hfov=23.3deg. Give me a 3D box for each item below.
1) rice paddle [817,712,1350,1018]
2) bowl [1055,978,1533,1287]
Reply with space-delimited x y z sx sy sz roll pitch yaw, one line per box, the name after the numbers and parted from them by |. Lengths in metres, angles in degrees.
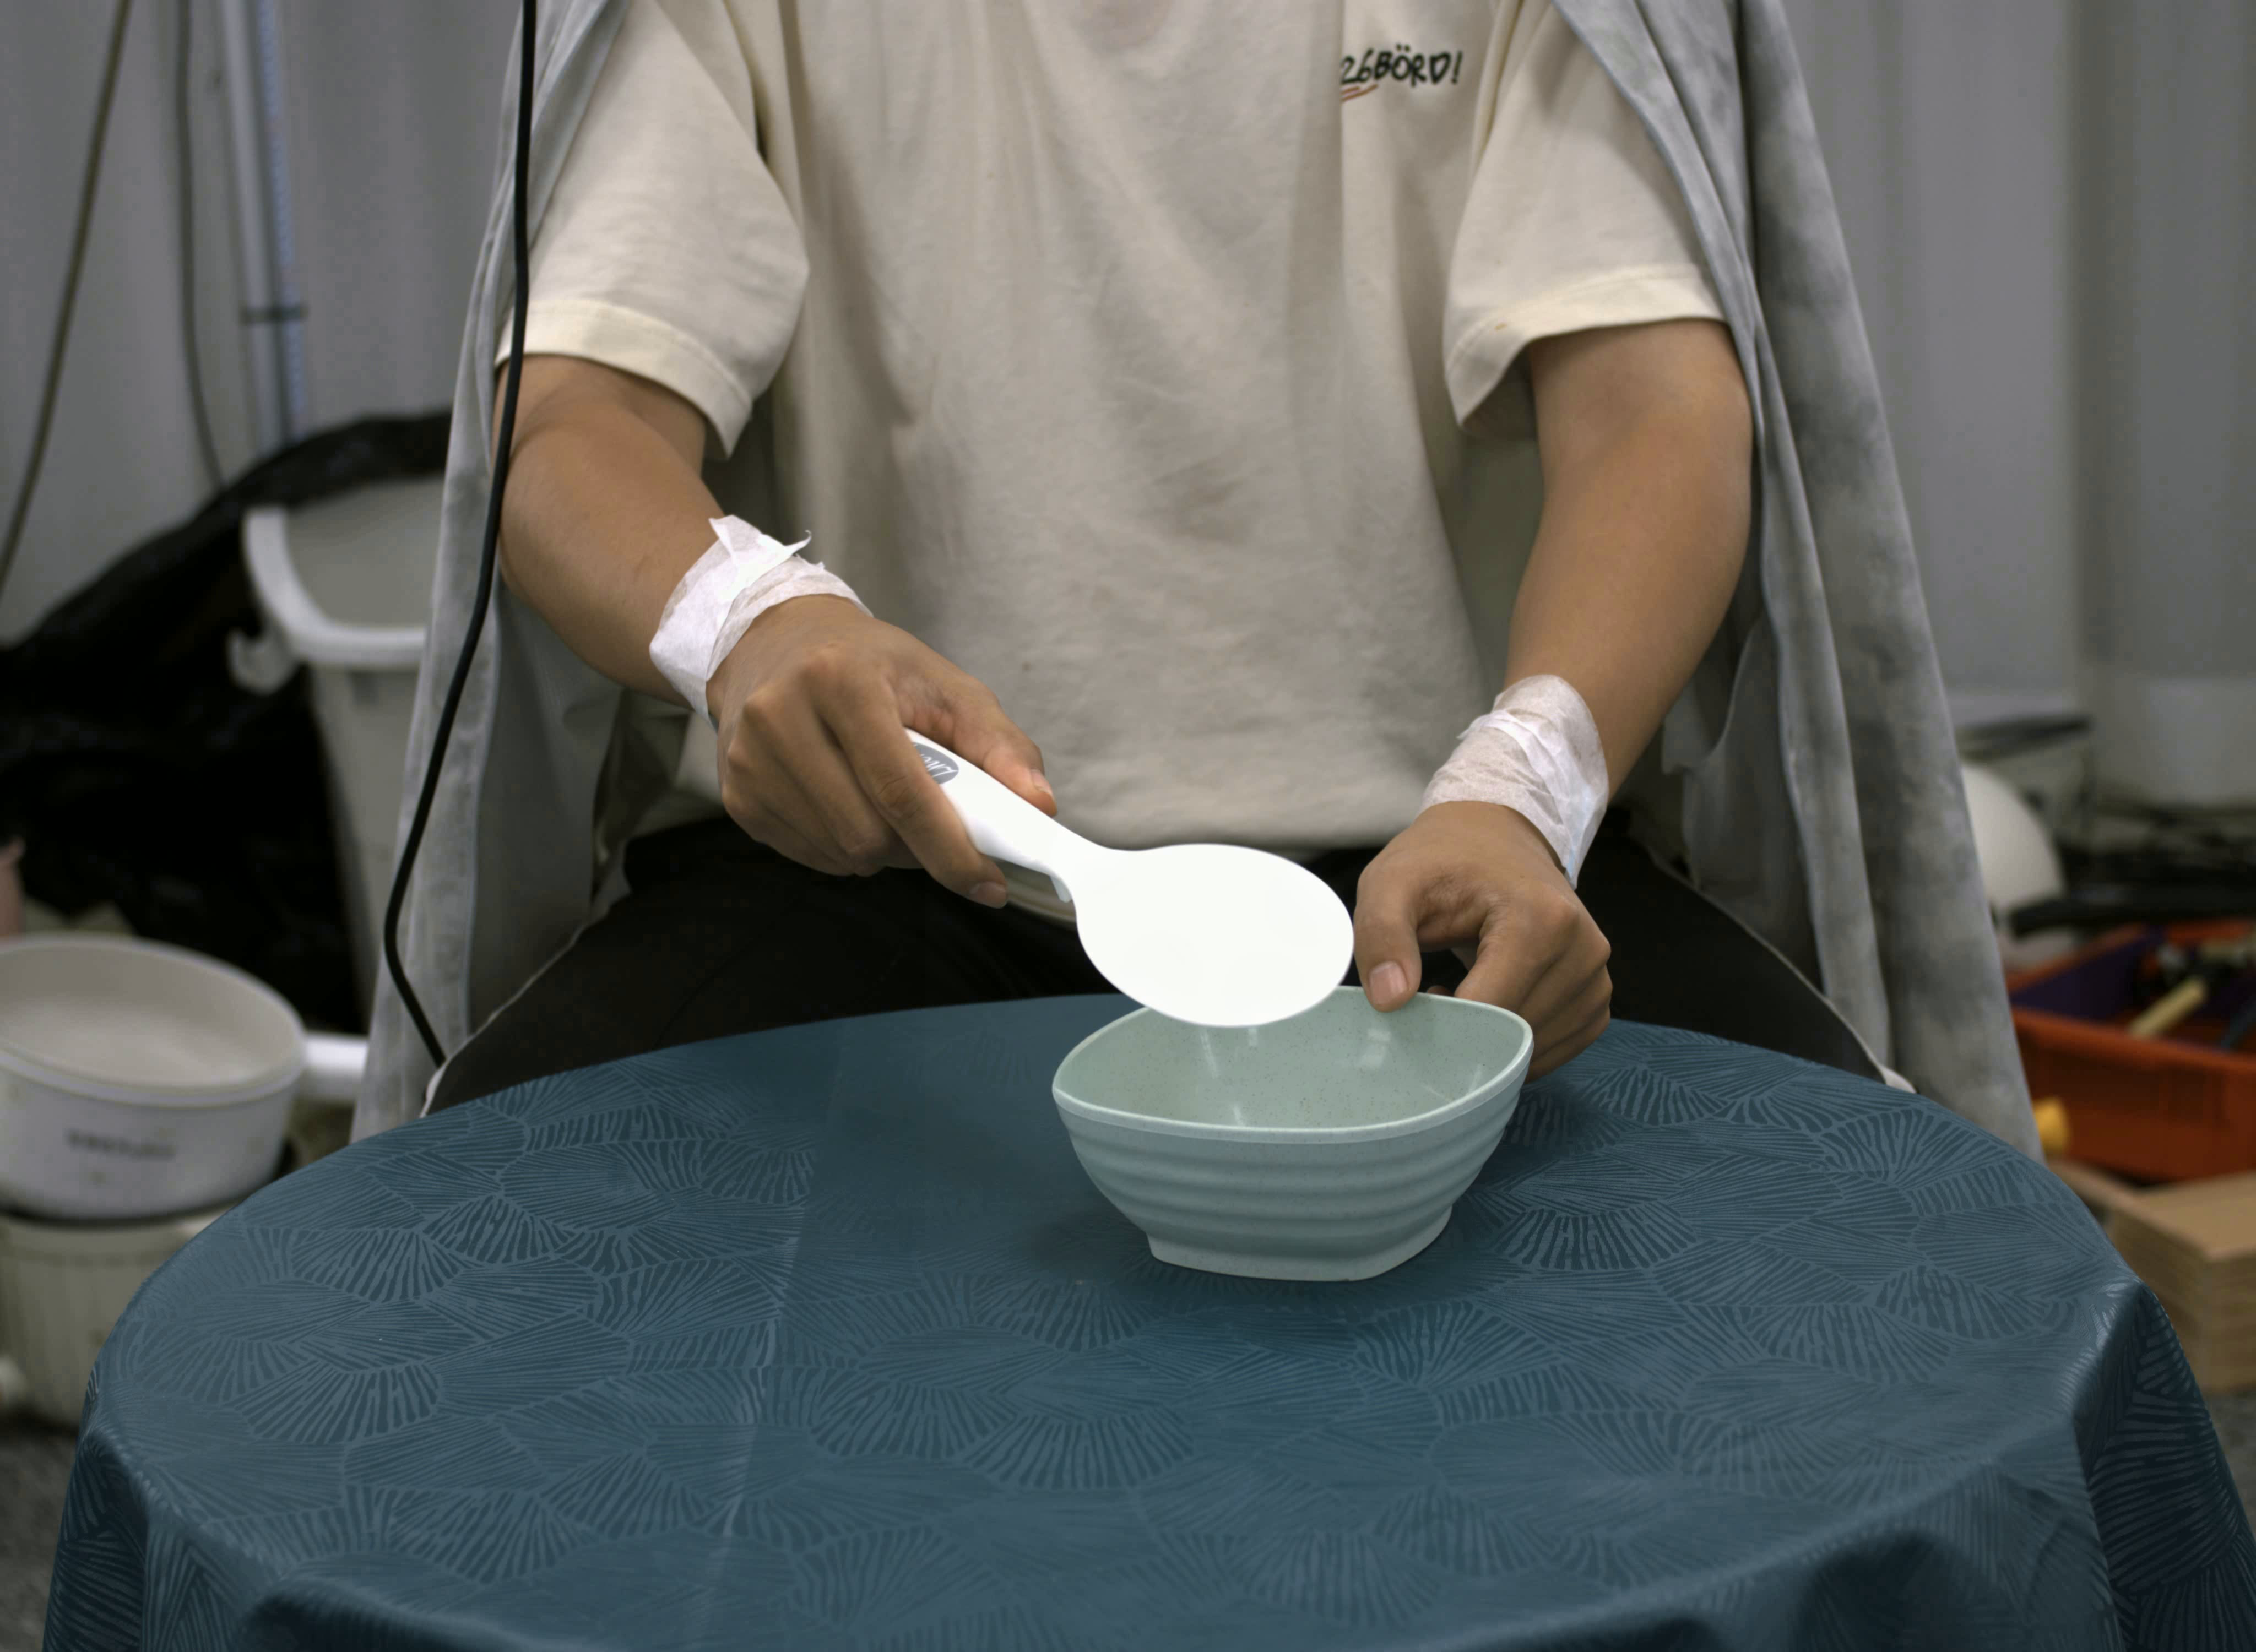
-0.015 0.010 1.667 0.207 0.029 0.069 24 59 39 | rice paddle
0.053 0.097 1.664 0.151 0.058 0.152 -5 17 1 | bowl
